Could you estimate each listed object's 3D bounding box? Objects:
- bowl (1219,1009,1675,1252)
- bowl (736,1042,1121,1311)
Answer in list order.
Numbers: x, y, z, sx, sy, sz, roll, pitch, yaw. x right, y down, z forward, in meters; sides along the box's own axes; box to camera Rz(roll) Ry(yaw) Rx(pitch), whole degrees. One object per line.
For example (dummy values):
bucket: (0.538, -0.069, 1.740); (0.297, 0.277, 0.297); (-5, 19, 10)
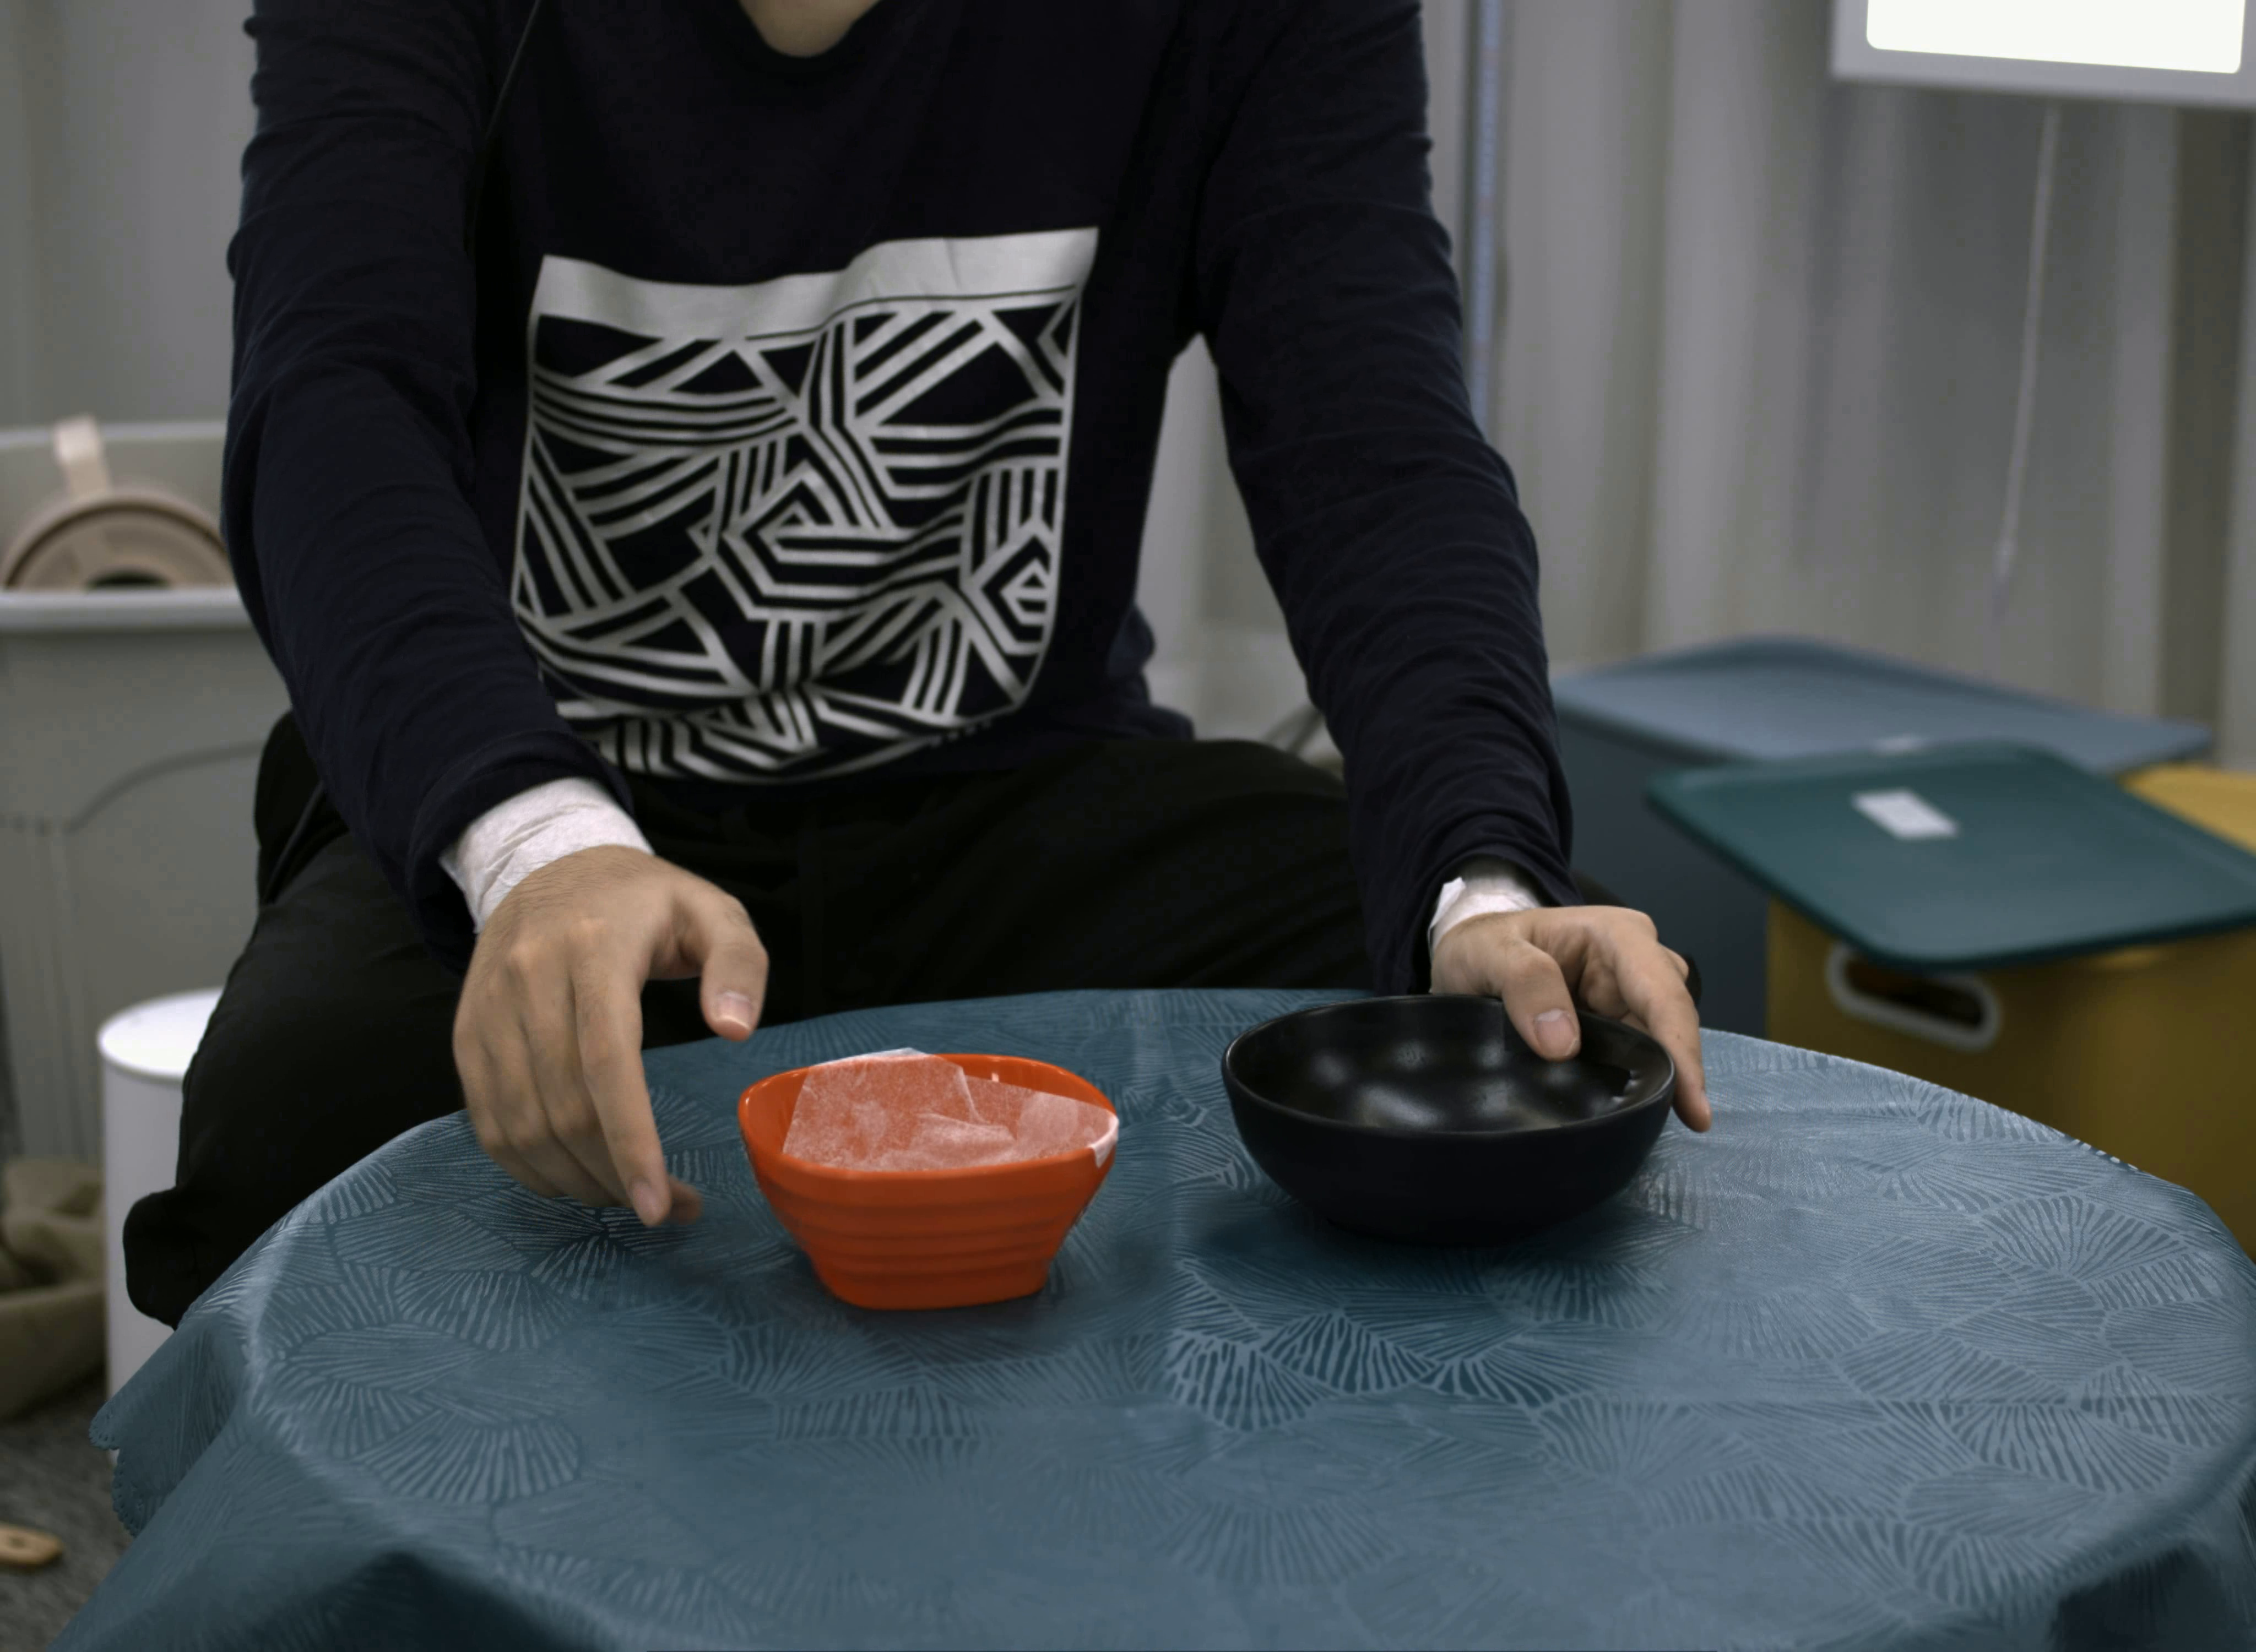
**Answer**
bowl: (0.097, 0.096, 1.603); (0.139, 0.050, 0.139); (0, 12, 1)
bowl: (-0.059, 0.105, 1.548); (0.118, 0.052, 0.118); (0, 18, 1)
